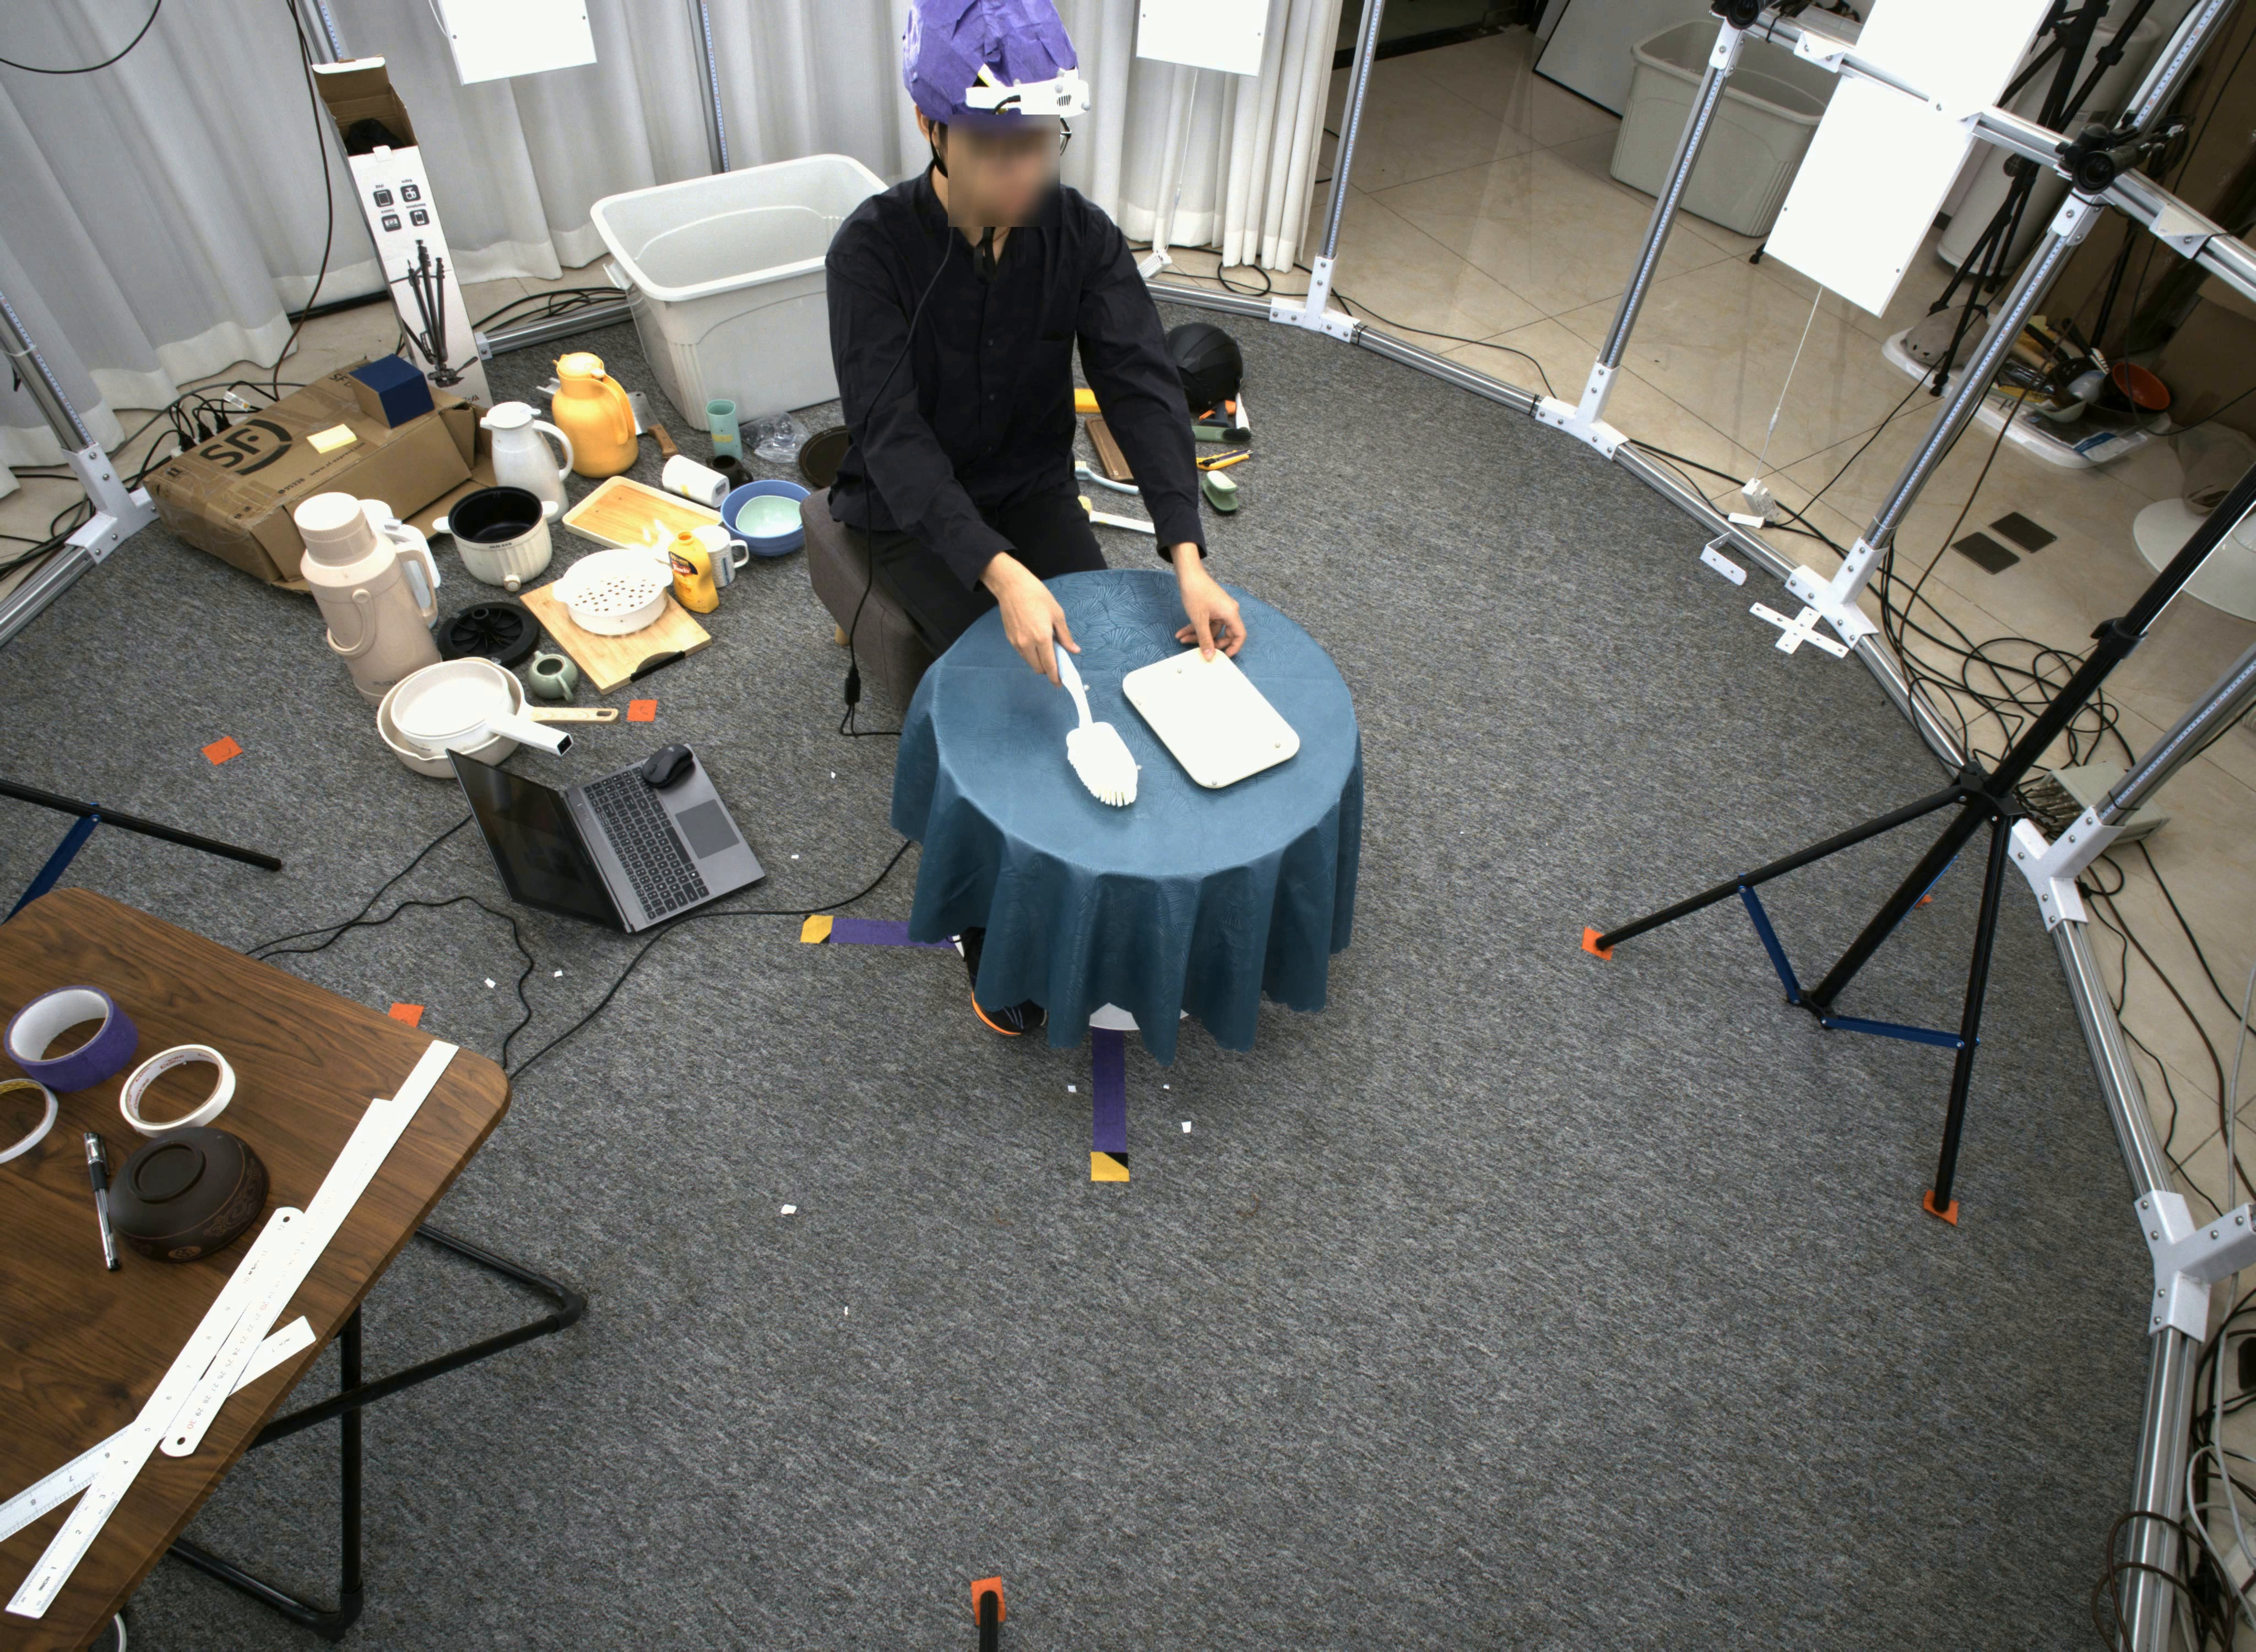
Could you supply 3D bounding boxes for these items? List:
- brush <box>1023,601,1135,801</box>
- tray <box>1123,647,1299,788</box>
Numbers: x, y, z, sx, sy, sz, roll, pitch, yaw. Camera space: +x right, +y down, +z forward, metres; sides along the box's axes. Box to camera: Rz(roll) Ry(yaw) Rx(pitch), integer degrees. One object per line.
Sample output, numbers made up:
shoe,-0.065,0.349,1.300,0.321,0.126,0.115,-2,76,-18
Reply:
brush,-0.070,-0.167,1.755,0.082,0.083,0.331,6,49,-51
tray,0.115,-0.154,1.800,0.172,0.017,0.244,-22,55,-22
